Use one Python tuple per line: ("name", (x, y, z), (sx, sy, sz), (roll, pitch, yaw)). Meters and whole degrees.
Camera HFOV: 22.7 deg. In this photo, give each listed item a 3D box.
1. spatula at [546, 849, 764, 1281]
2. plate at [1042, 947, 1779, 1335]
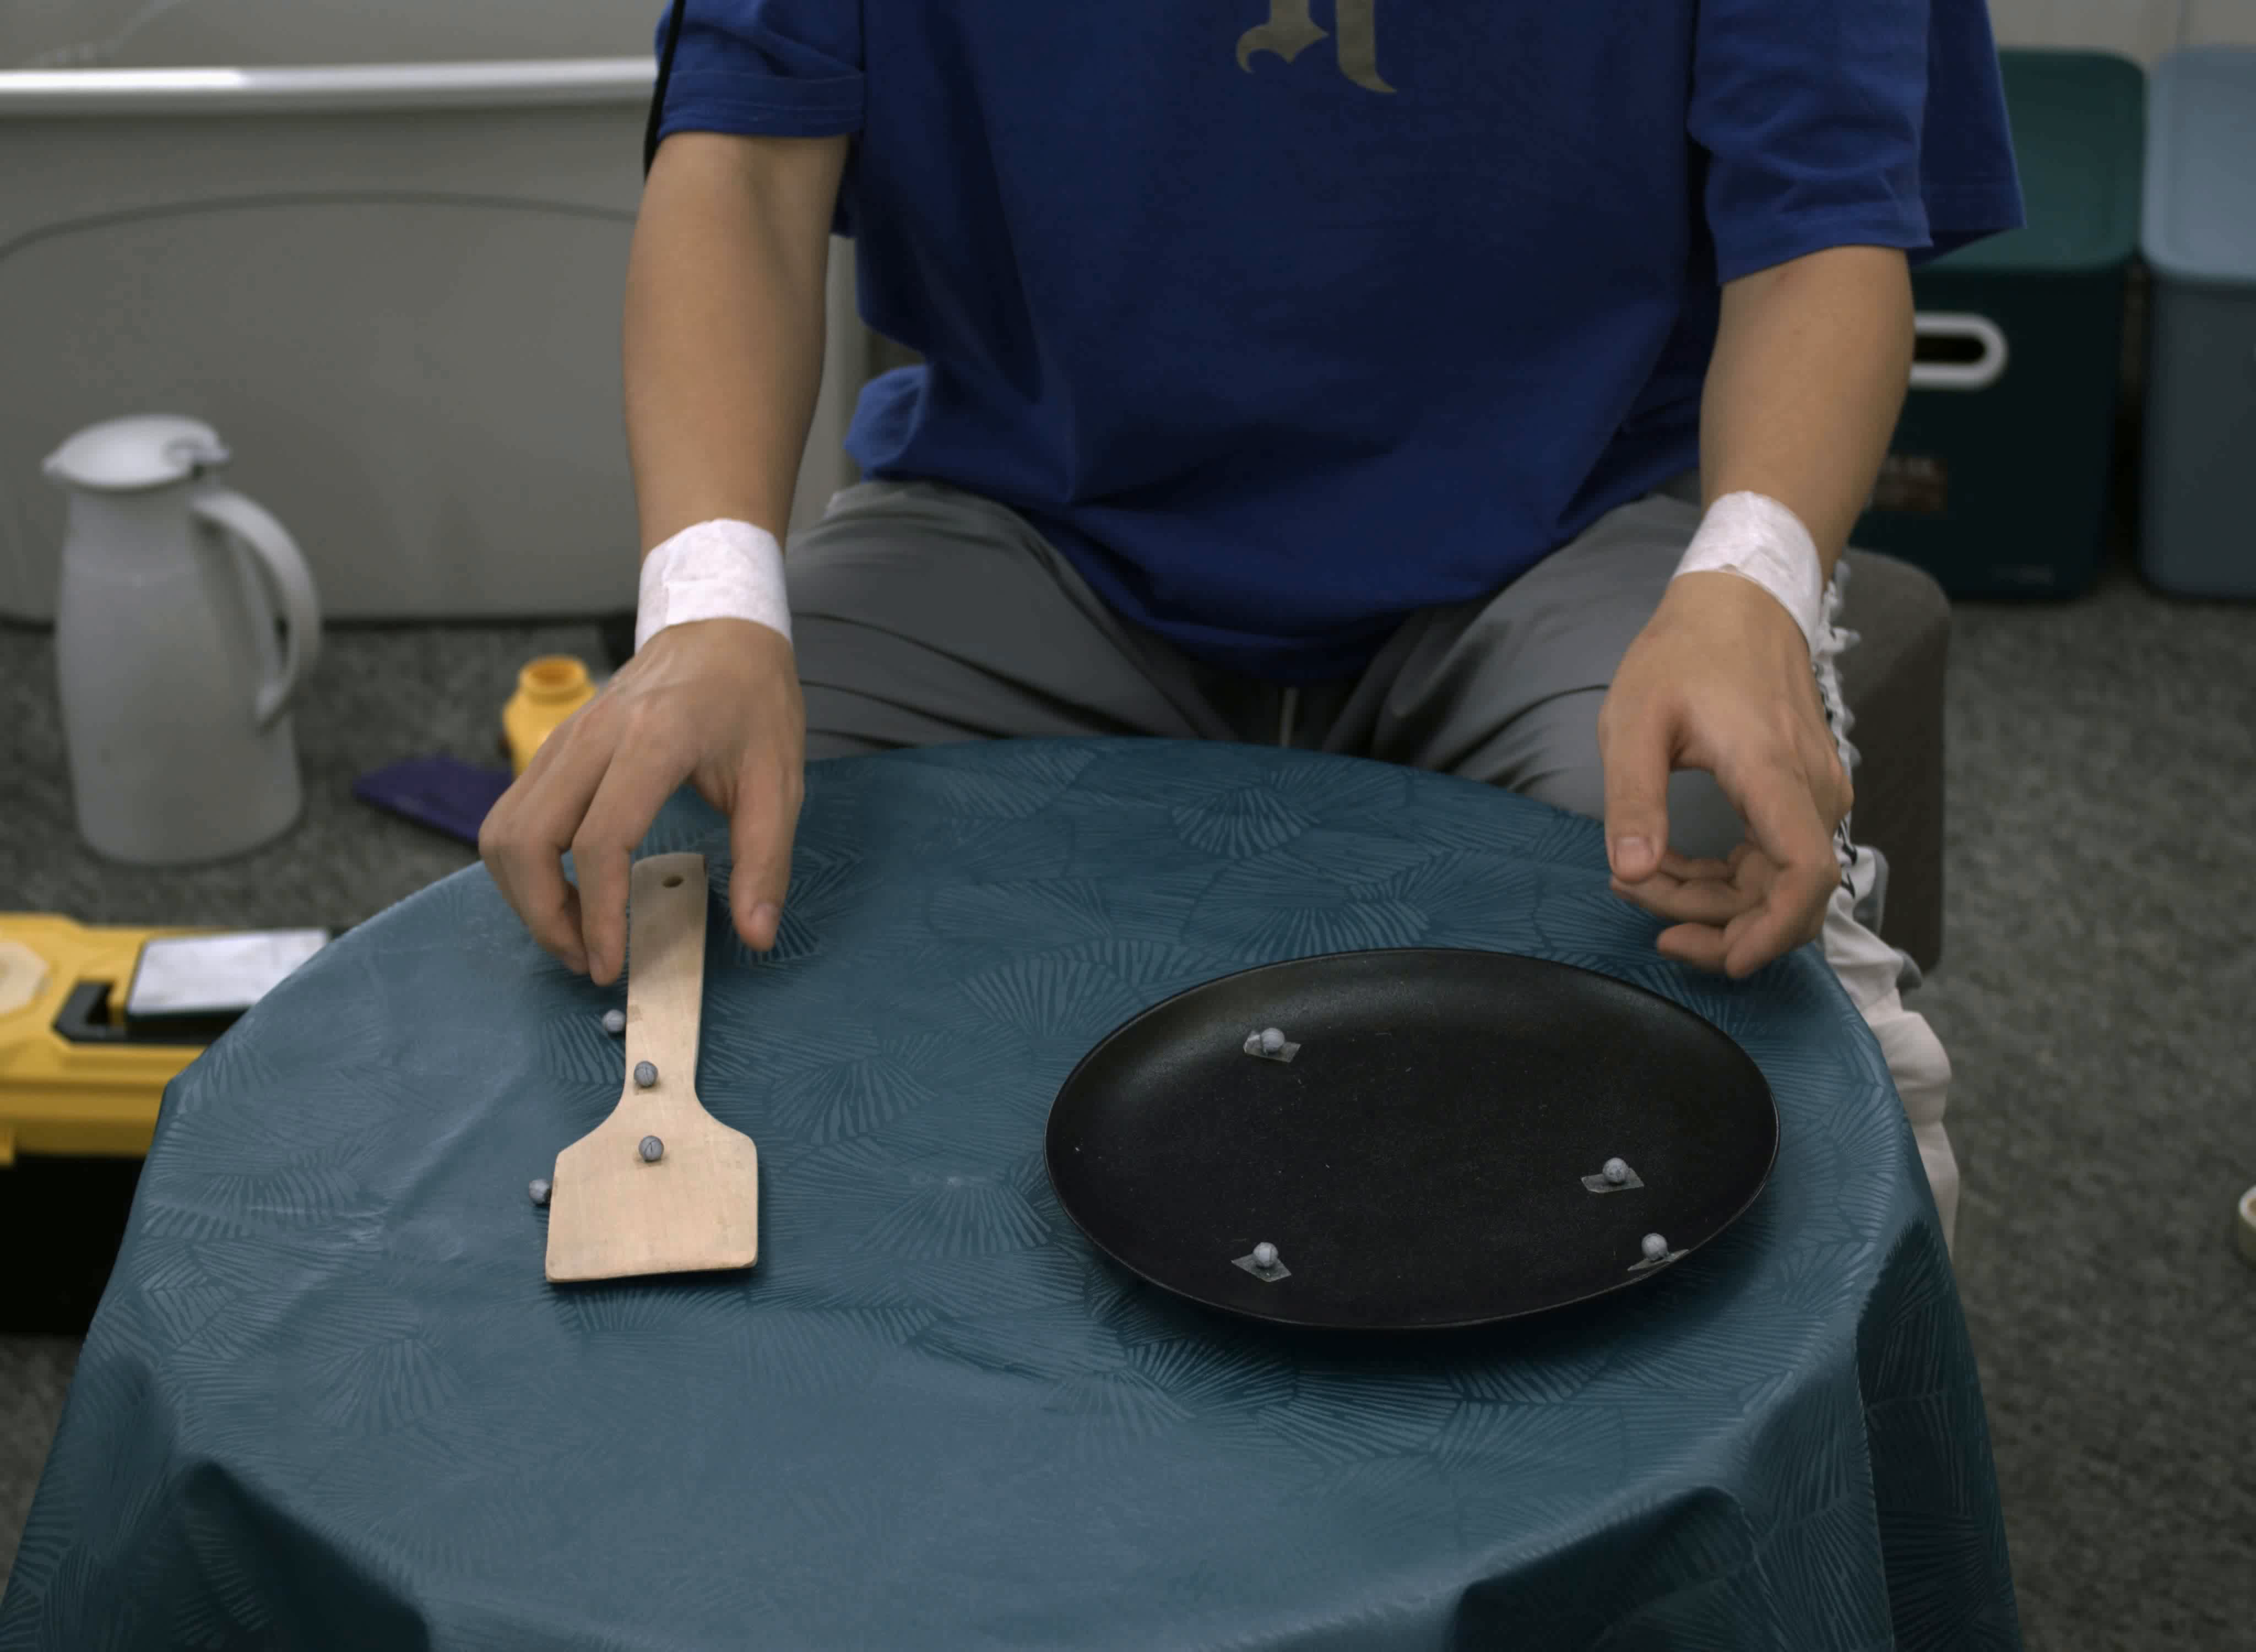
("spatula", (-0.161, 0.079, 1.949), (0.072, 0.010, 0.297), (-5, 27, -1))
("plate", (0.092, 0.107, 1.854), (0.243, 0.023, 0.248), (-2, 27, 2))
